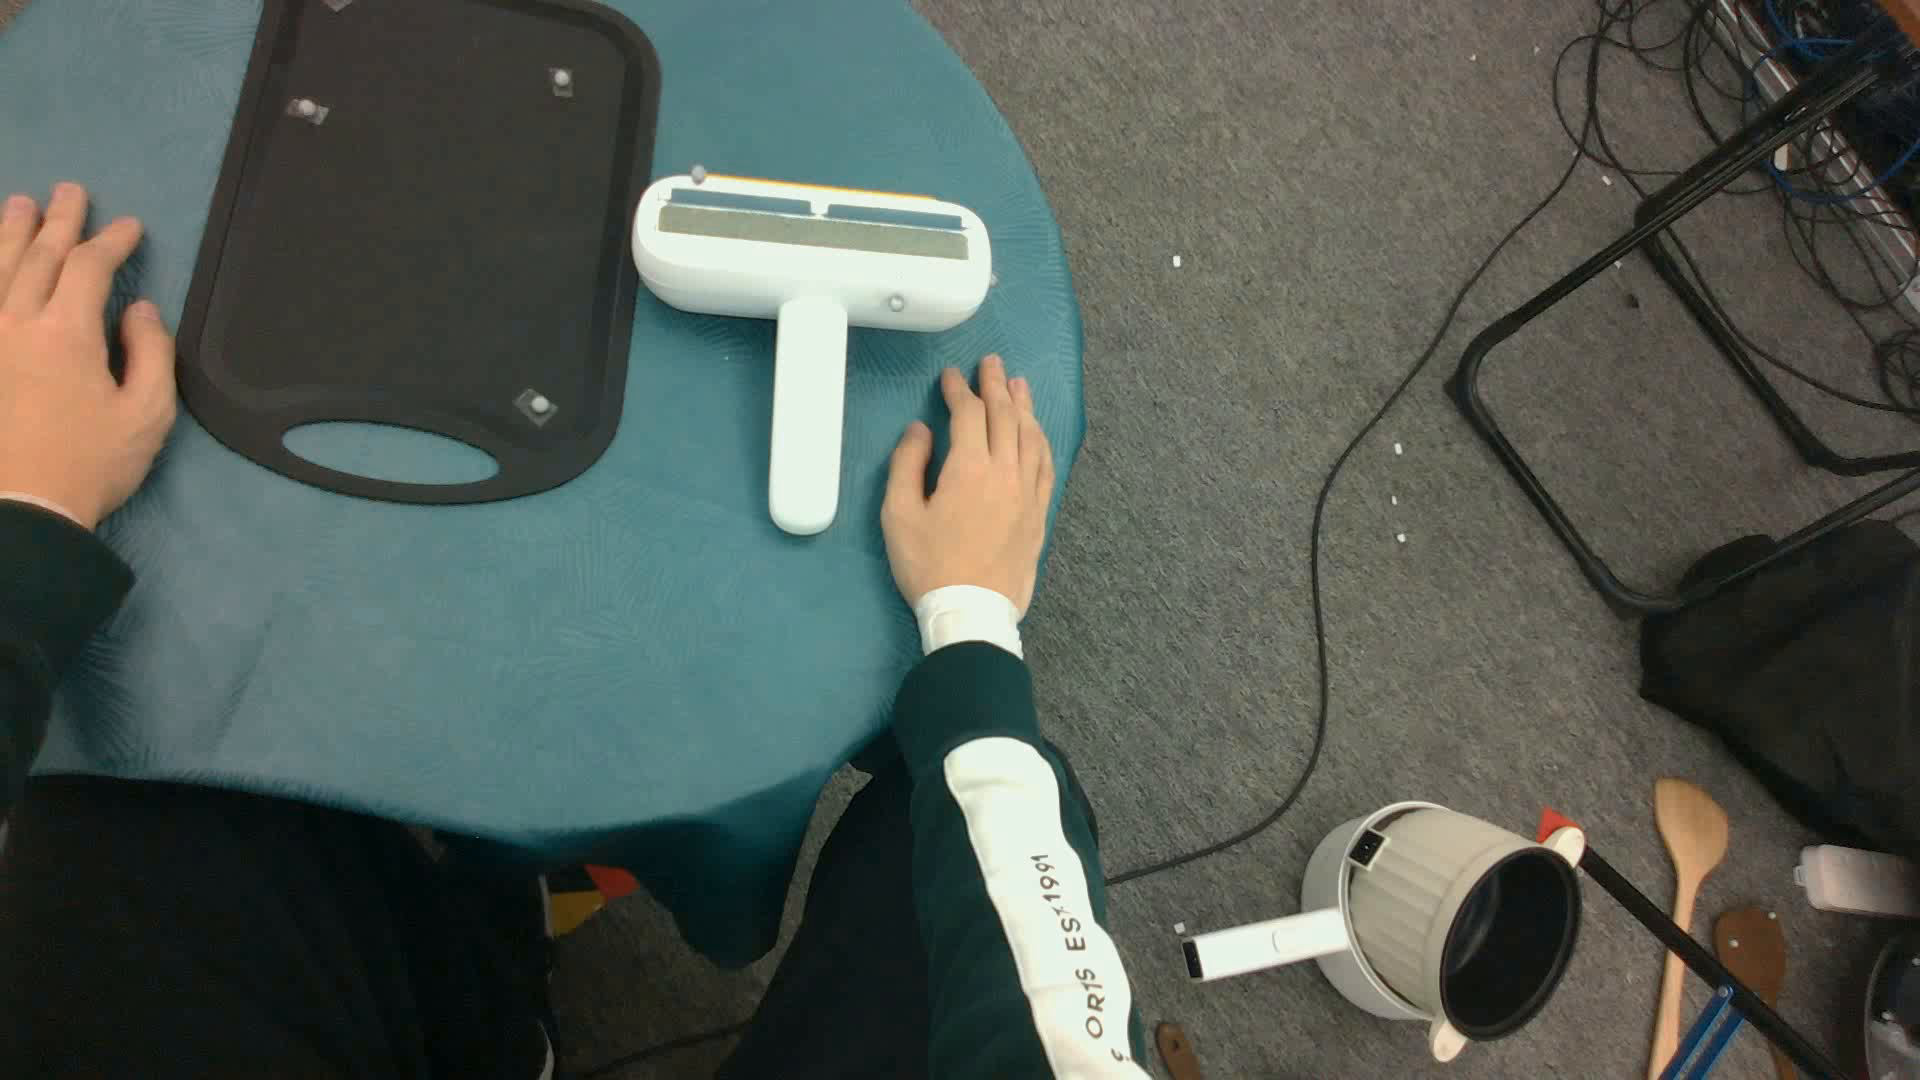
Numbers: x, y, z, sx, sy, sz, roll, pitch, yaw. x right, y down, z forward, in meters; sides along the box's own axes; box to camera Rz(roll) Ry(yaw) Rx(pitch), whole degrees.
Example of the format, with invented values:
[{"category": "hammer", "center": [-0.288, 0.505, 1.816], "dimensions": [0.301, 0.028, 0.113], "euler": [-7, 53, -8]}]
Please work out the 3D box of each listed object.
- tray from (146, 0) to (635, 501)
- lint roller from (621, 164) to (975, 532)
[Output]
[{"category": "tray", "center": [-0.289, -0.173, 0.727], "dimensions": [0.211, 0.010, 0.326], "euler": [8, 68, -18]}, {"category": "lint roller", "center": [-0.097, -0.101, 0.759], "dimensions": [0.193, 0.074, 0.192], "euler": [9, 82, -11]}]
